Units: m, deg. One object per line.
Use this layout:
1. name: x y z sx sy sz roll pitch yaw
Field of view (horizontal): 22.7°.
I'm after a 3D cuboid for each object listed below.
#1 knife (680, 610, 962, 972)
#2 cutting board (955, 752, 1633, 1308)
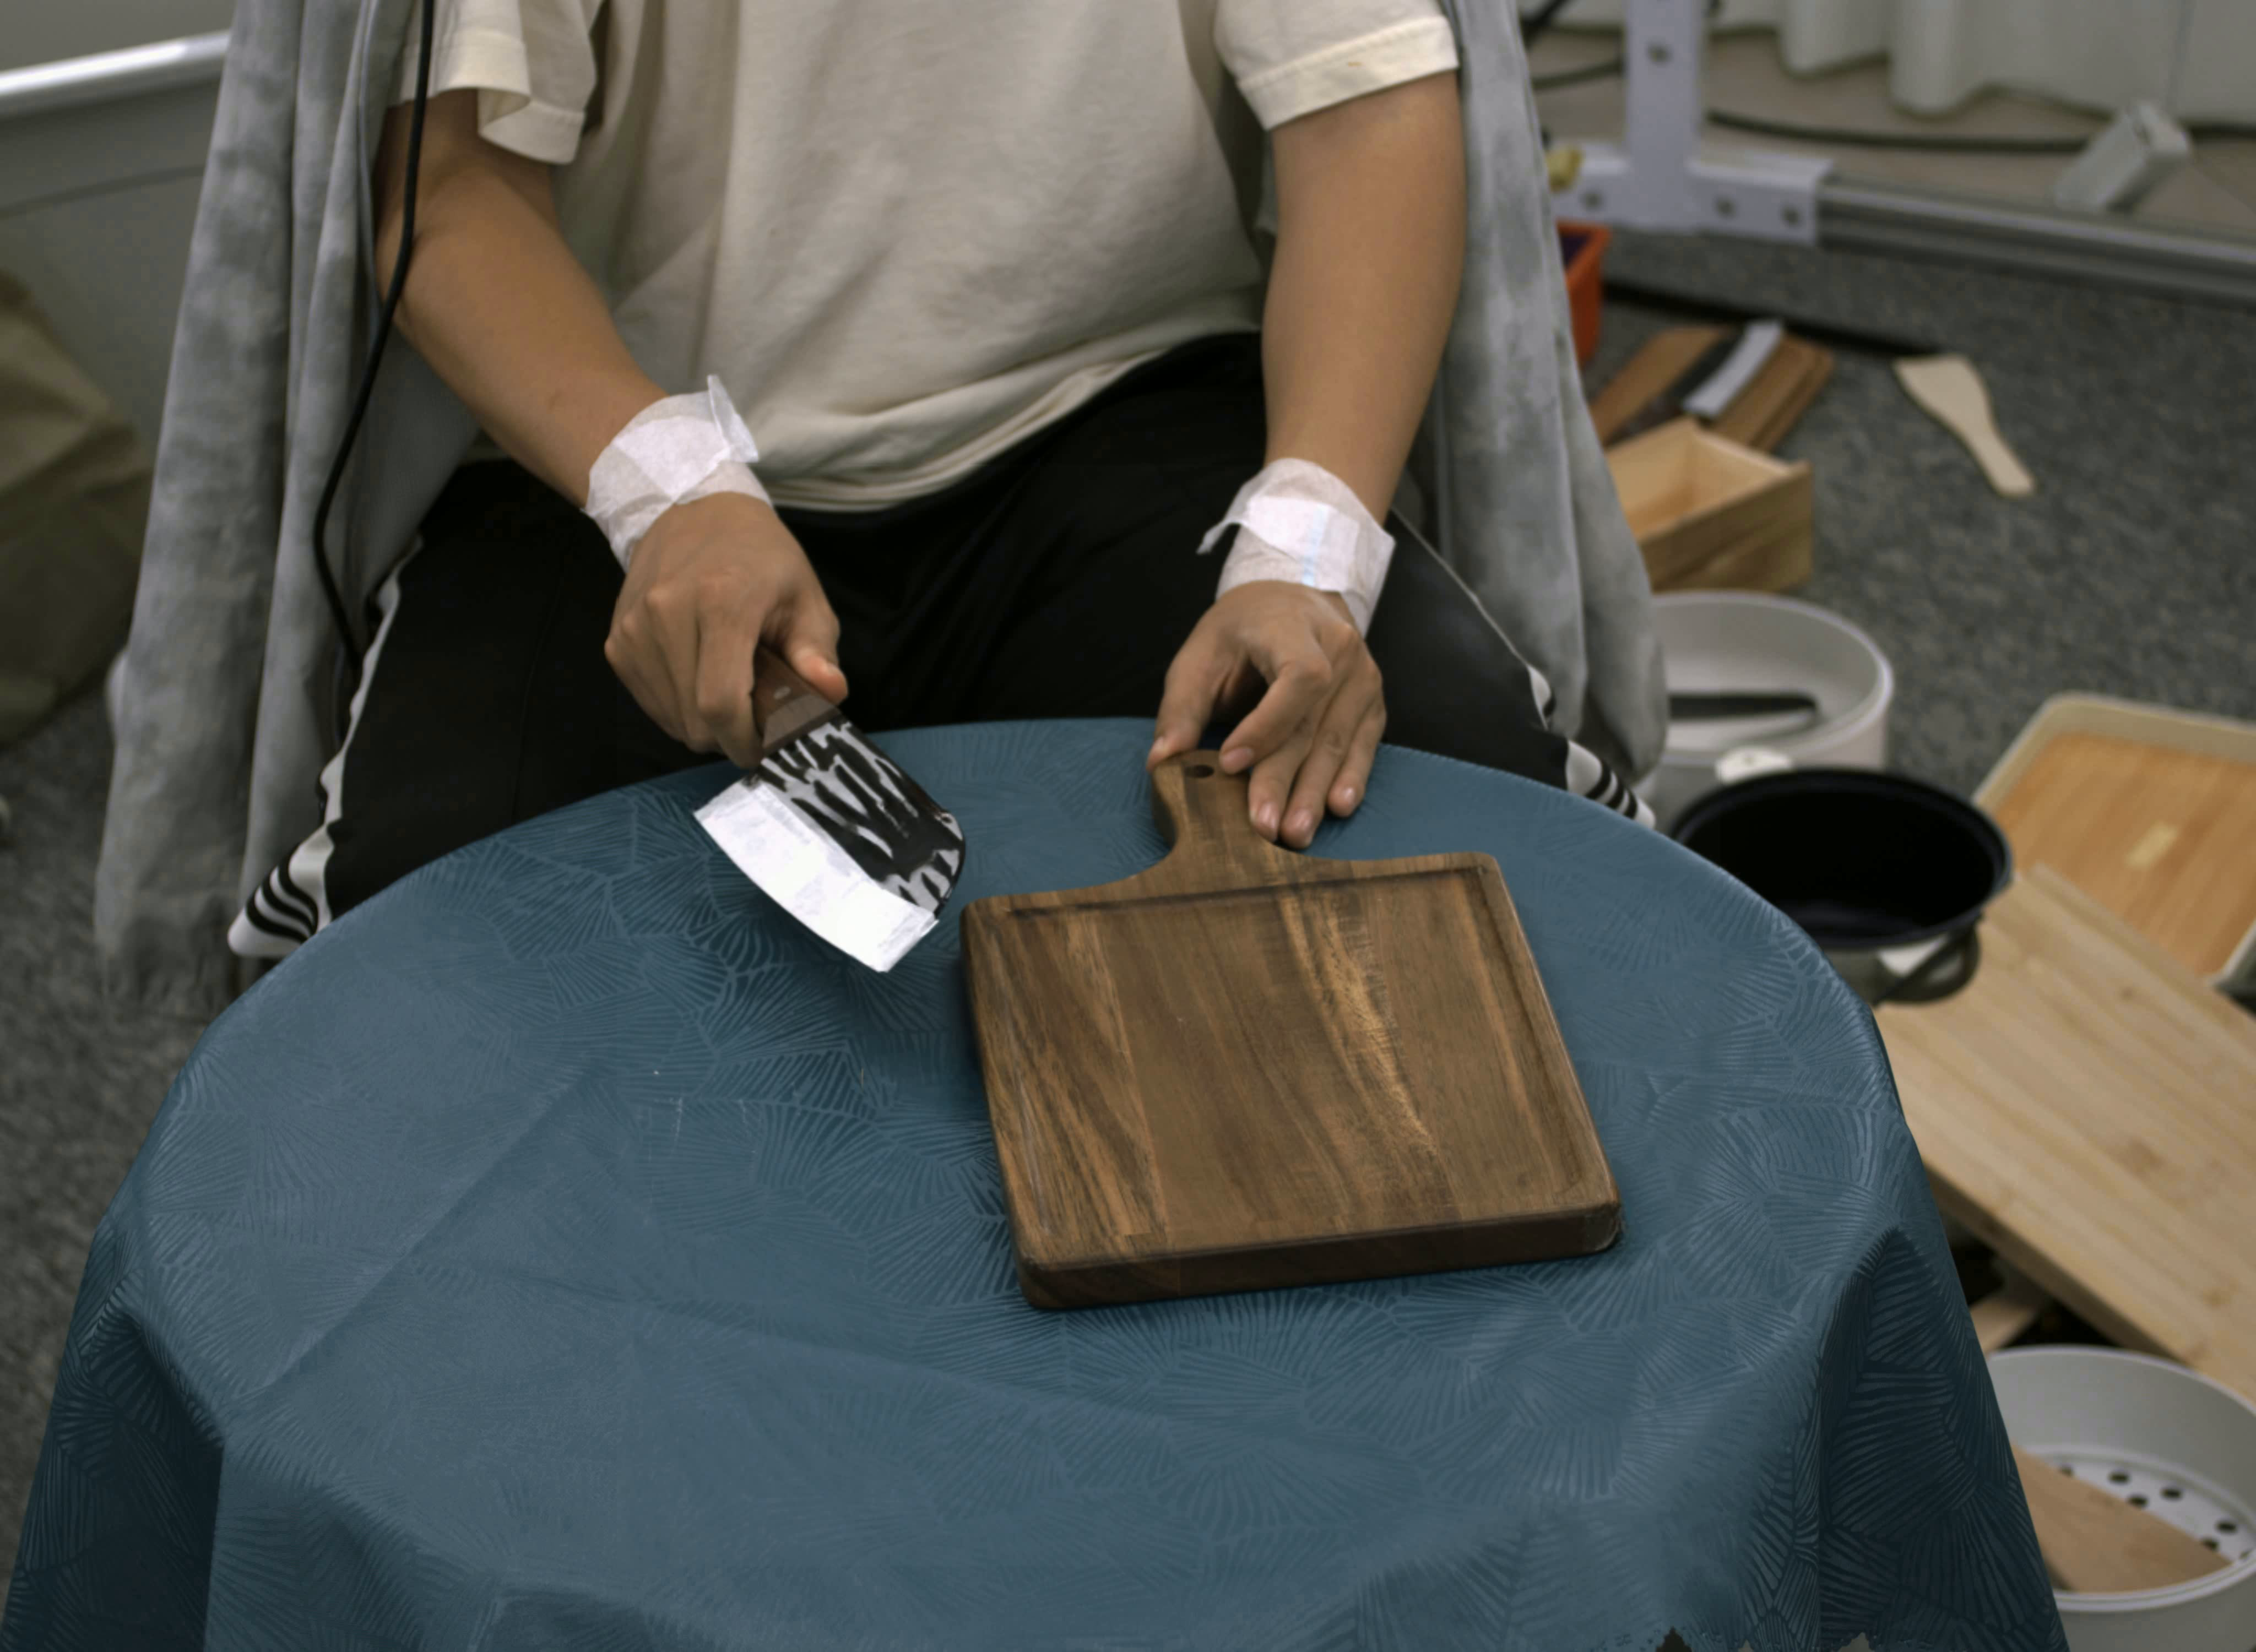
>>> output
1. knife: -0.121 -0.014 2.035 0.068 0.024 0.301 -34 29 -8
2. cutting board: 0.045 0.059 1.954 0.200 0.023 0.357 -5 27 -5
